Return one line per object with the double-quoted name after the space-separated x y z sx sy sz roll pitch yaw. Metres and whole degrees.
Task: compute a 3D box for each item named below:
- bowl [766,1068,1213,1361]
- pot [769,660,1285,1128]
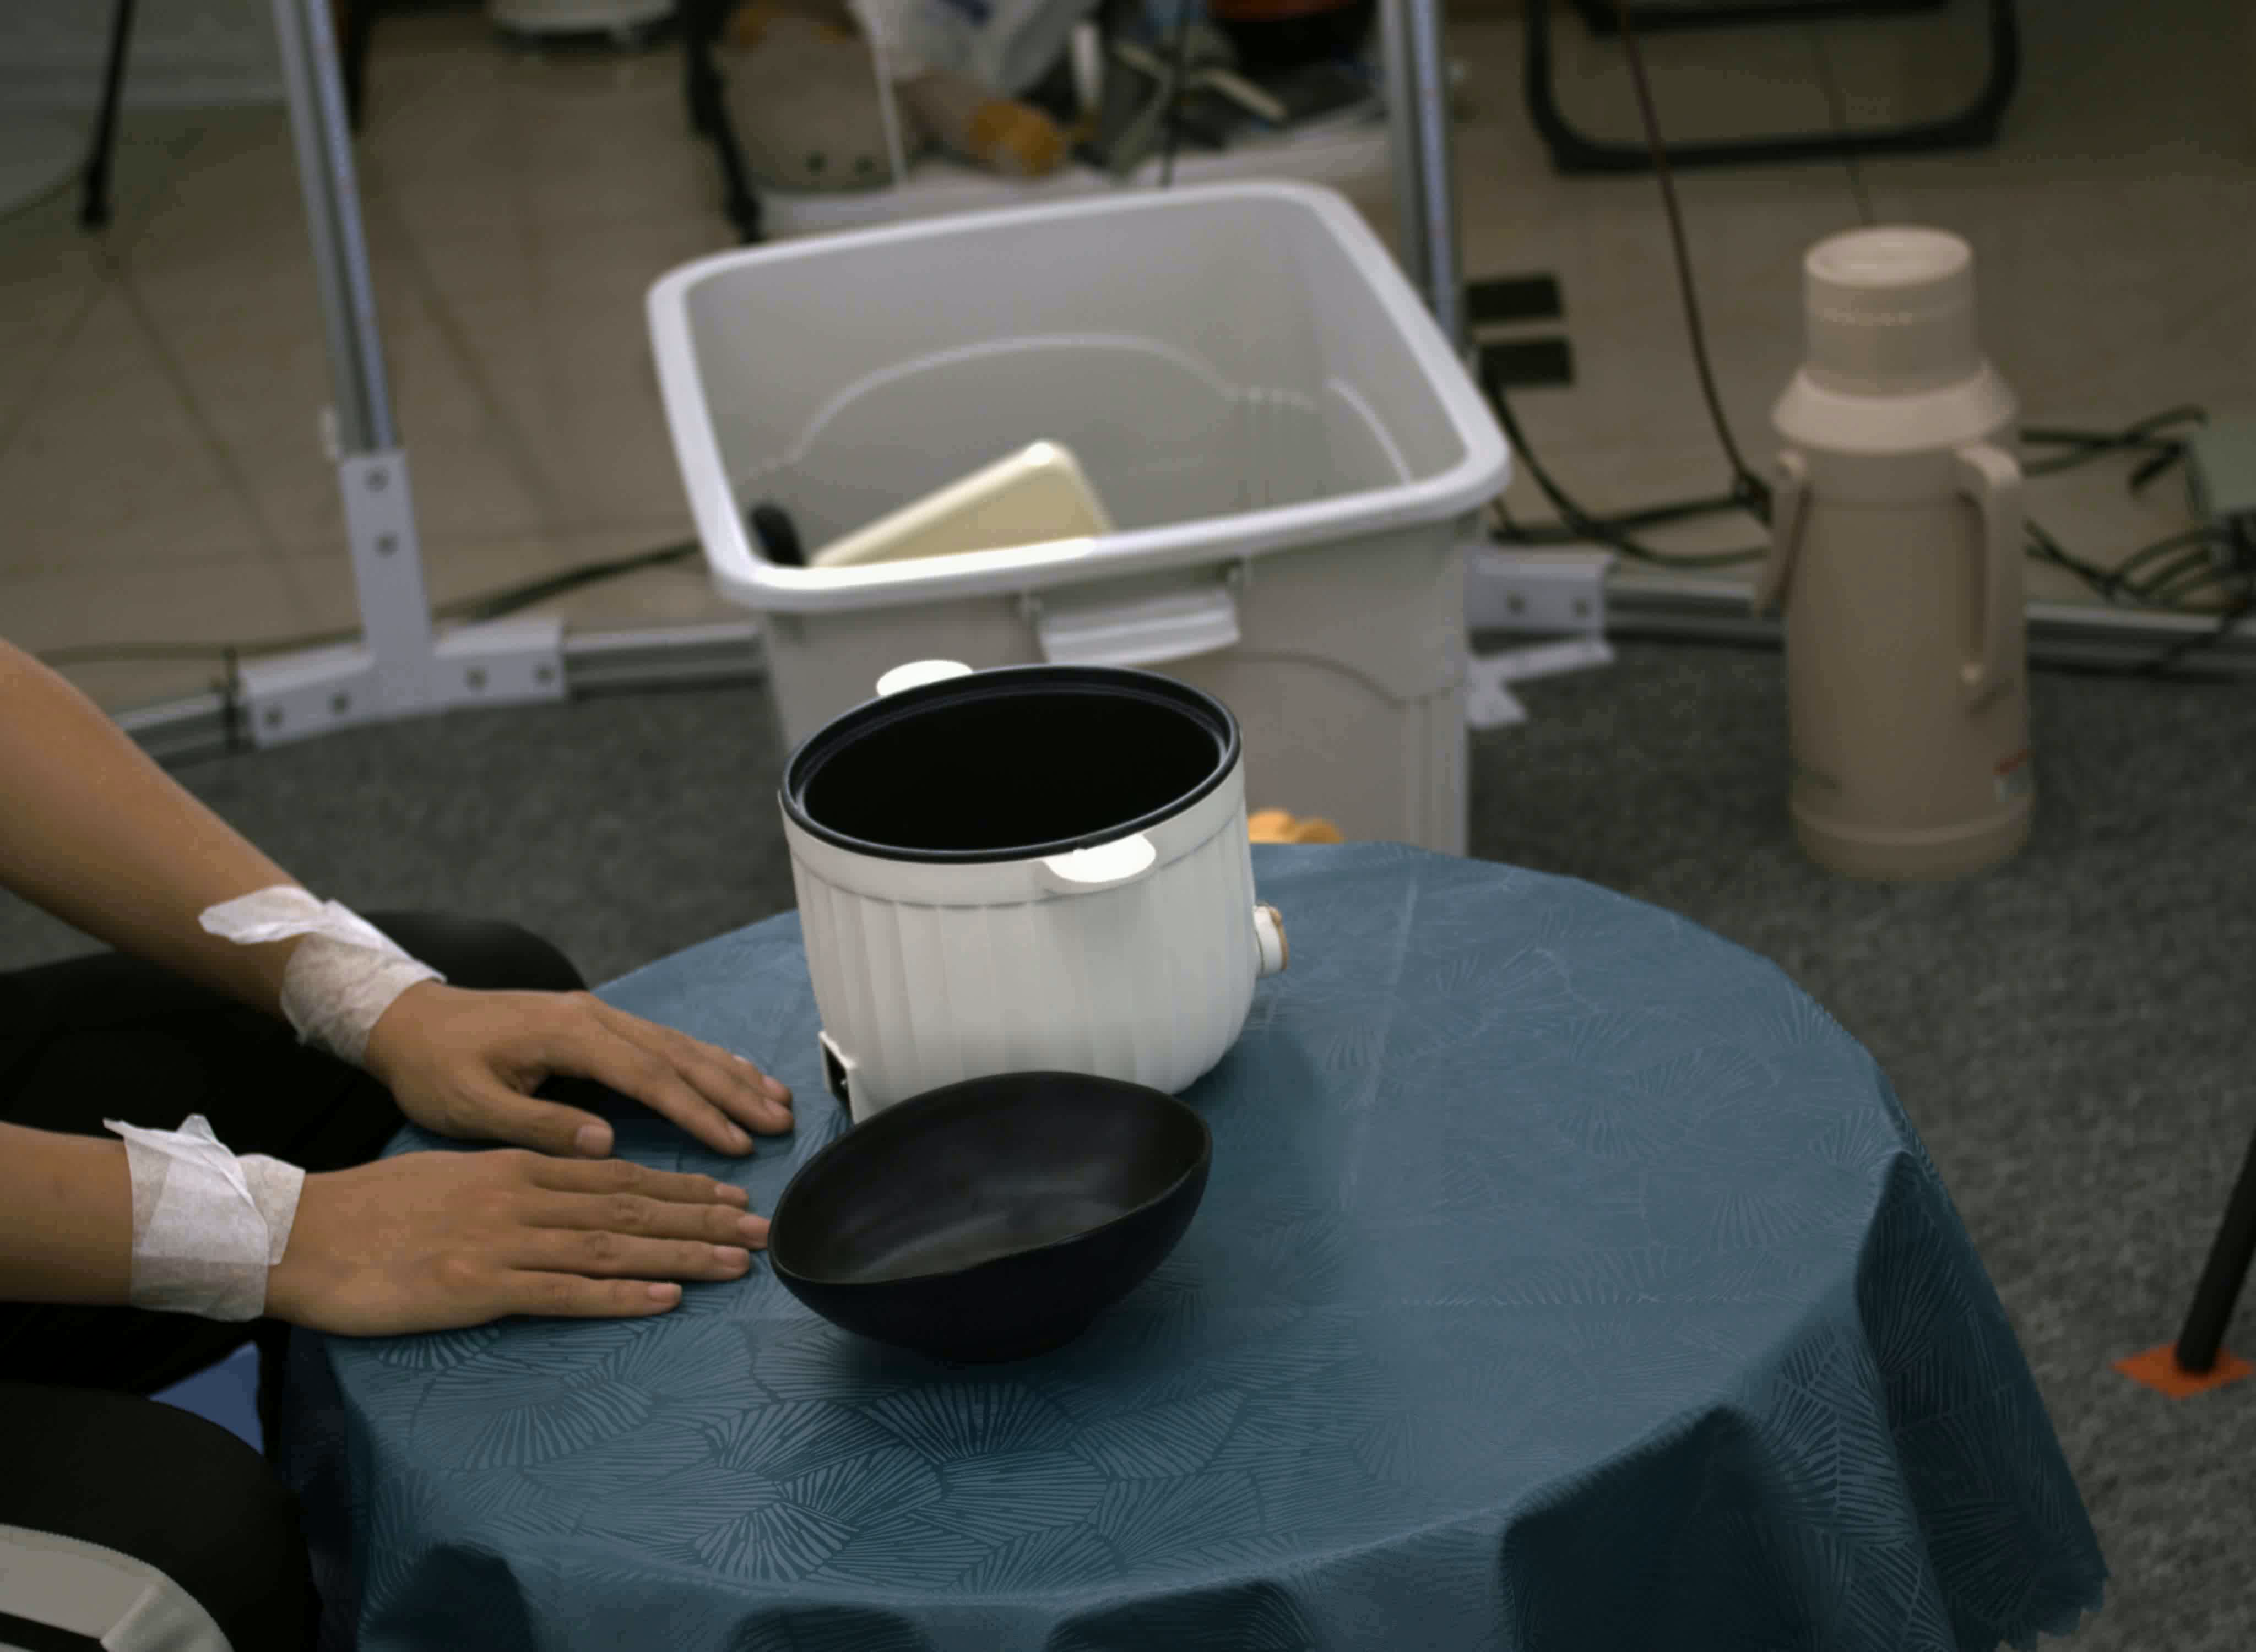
-0.046 0.151 2.060 0.169 0.068 0.136 -19 26 -23 "bowl"
-0.036 0.030 2.226 0.190 0.145 0.237 -18 28 -16 "pot"
